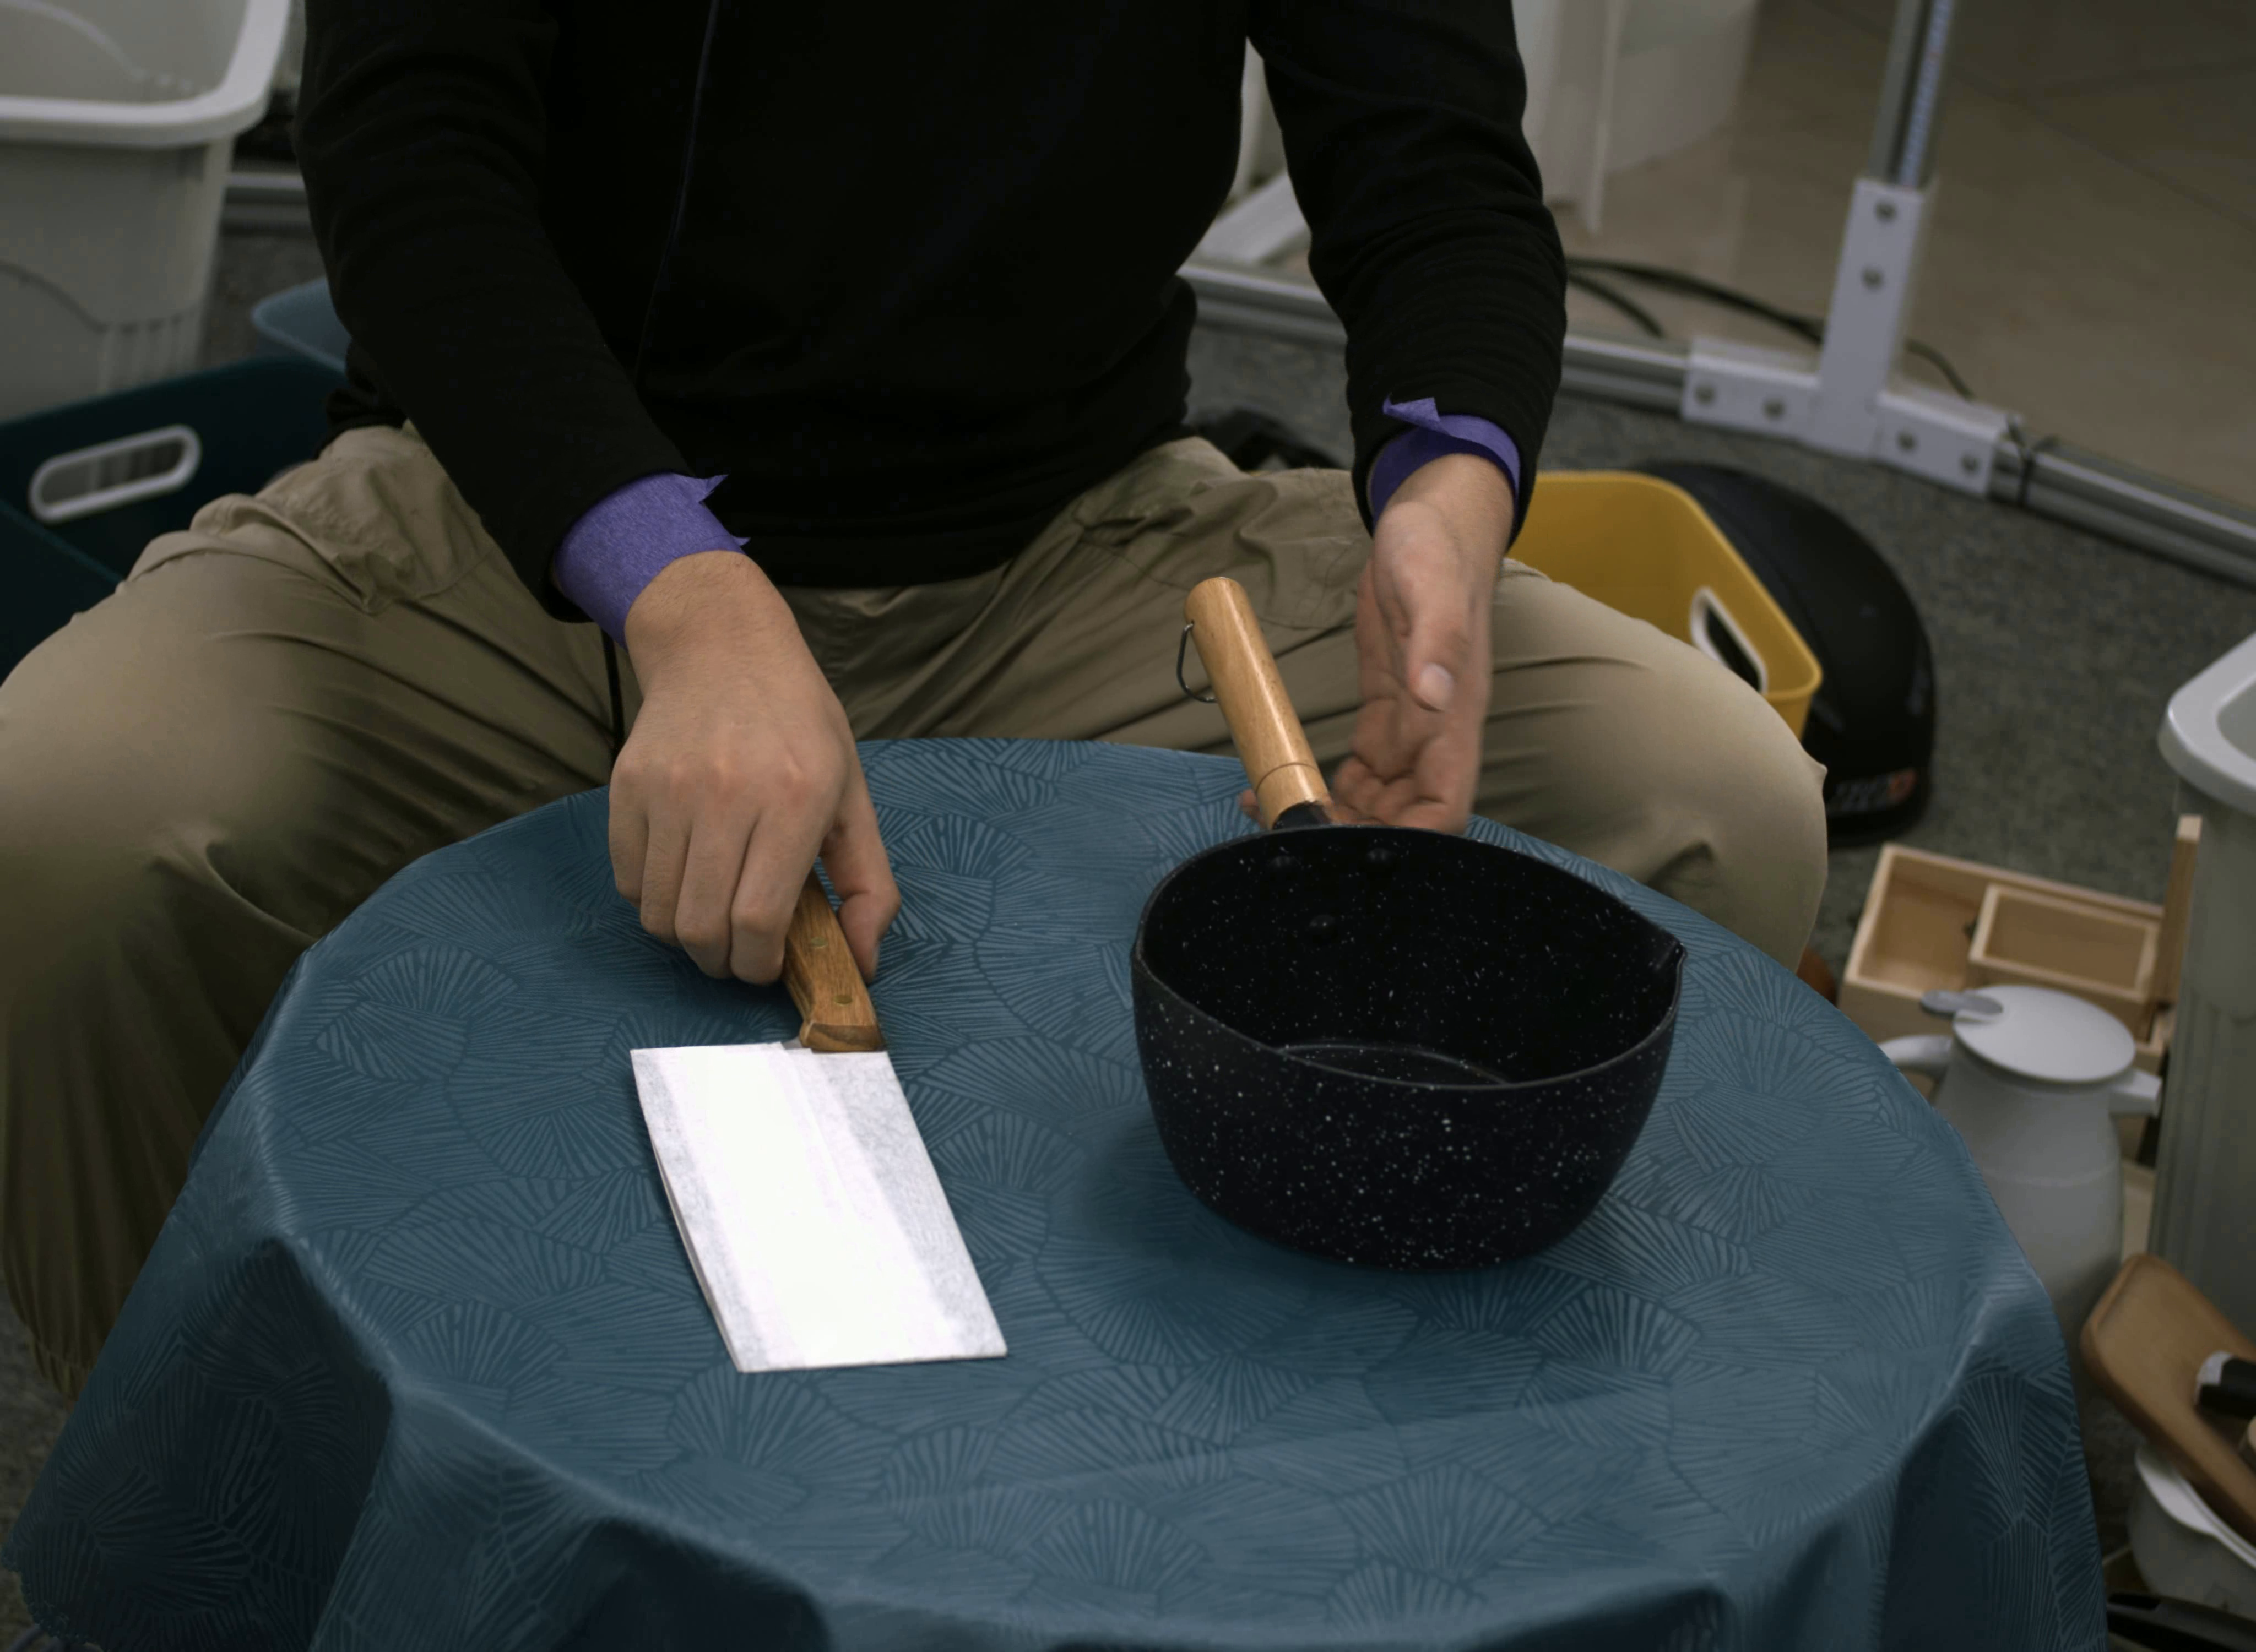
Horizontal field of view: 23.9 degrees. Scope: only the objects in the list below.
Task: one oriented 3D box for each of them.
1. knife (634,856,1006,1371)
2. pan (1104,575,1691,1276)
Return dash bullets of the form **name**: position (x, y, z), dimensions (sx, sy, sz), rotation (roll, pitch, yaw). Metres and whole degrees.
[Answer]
- **knife**: position (-0.118, 0.095, 1.819), dimensions (0.092, 0.021, 0.308), rotation (-3, 31, -15)
- **pan**: position (0.069, 0.032, 1.885), dimensions (0.206, 0.108, 0.346), rotation (-3, 29, -17)
